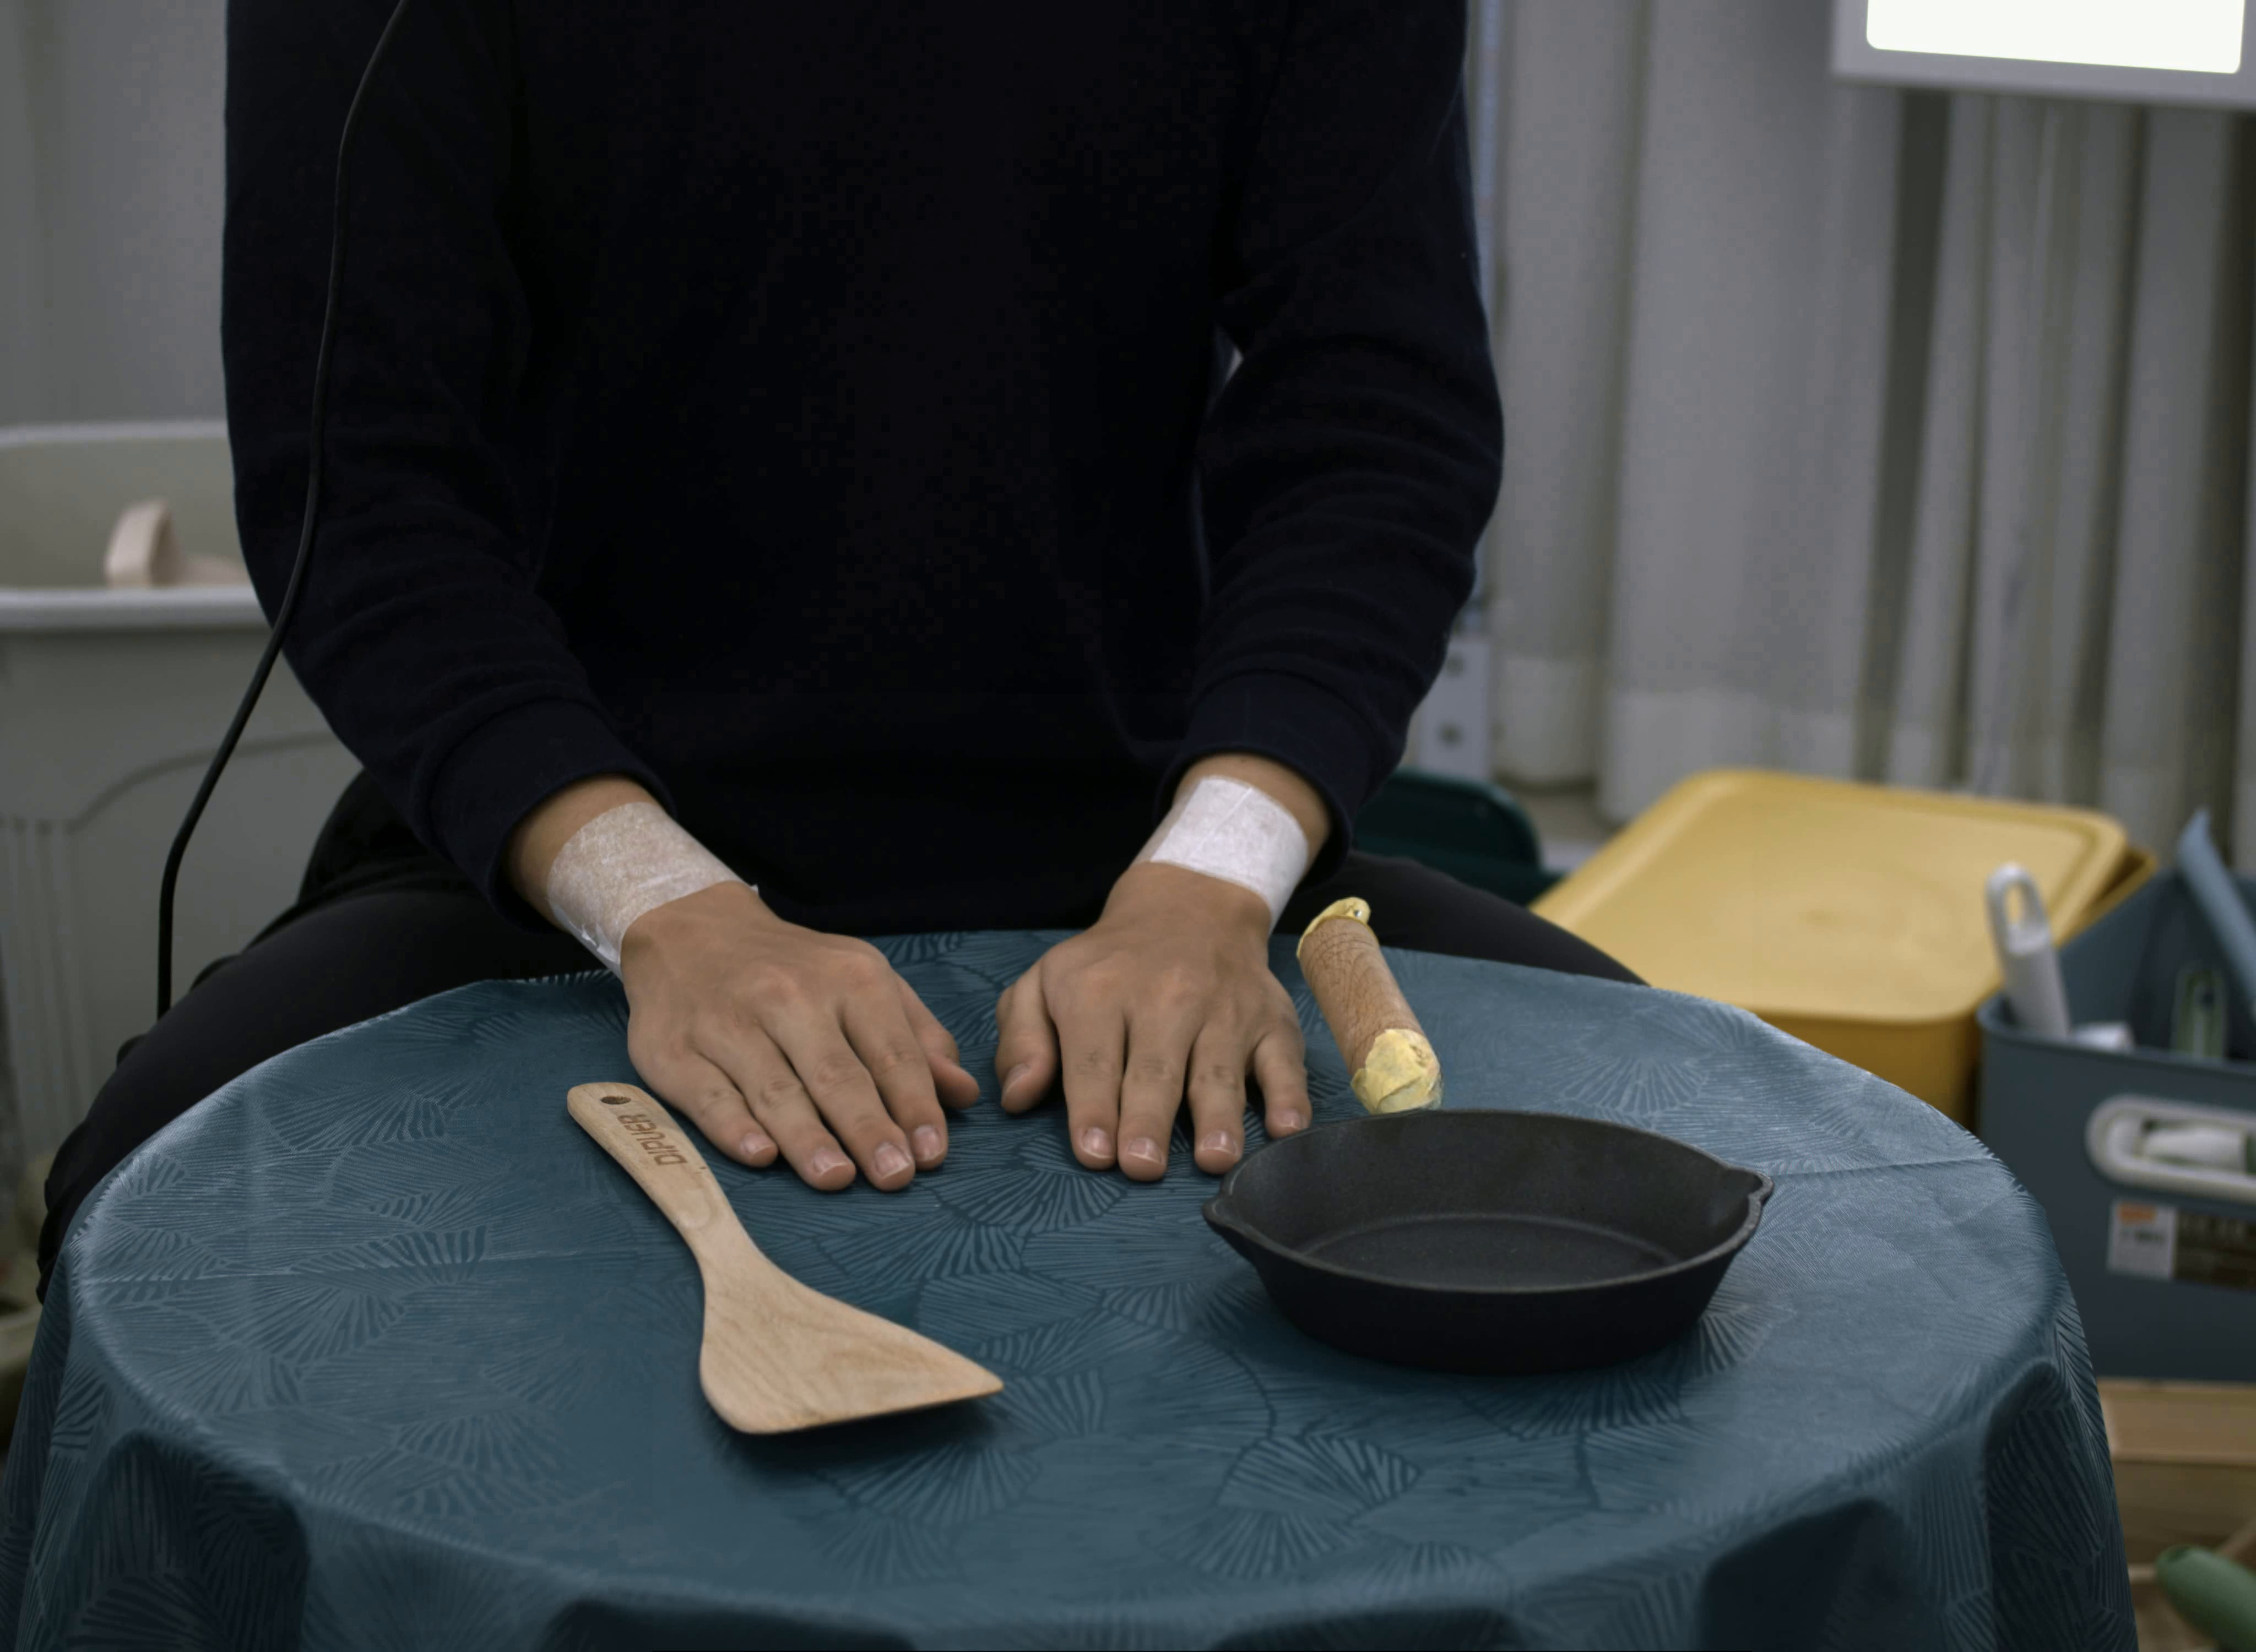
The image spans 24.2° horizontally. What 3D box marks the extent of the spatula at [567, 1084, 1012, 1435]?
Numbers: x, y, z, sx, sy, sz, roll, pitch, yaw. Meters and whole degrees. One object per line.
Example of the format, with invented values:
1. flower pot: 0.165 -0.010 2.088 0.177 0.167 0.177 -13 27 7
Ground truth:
1. spatula: -0.116 0.123 1.551 0.080 0.016 0.324 -4 16 -19

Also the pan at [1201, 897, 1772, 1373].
1. pan: 0.093 0.091 1.609 0.169 0.050 0.321 -2 17 -8
